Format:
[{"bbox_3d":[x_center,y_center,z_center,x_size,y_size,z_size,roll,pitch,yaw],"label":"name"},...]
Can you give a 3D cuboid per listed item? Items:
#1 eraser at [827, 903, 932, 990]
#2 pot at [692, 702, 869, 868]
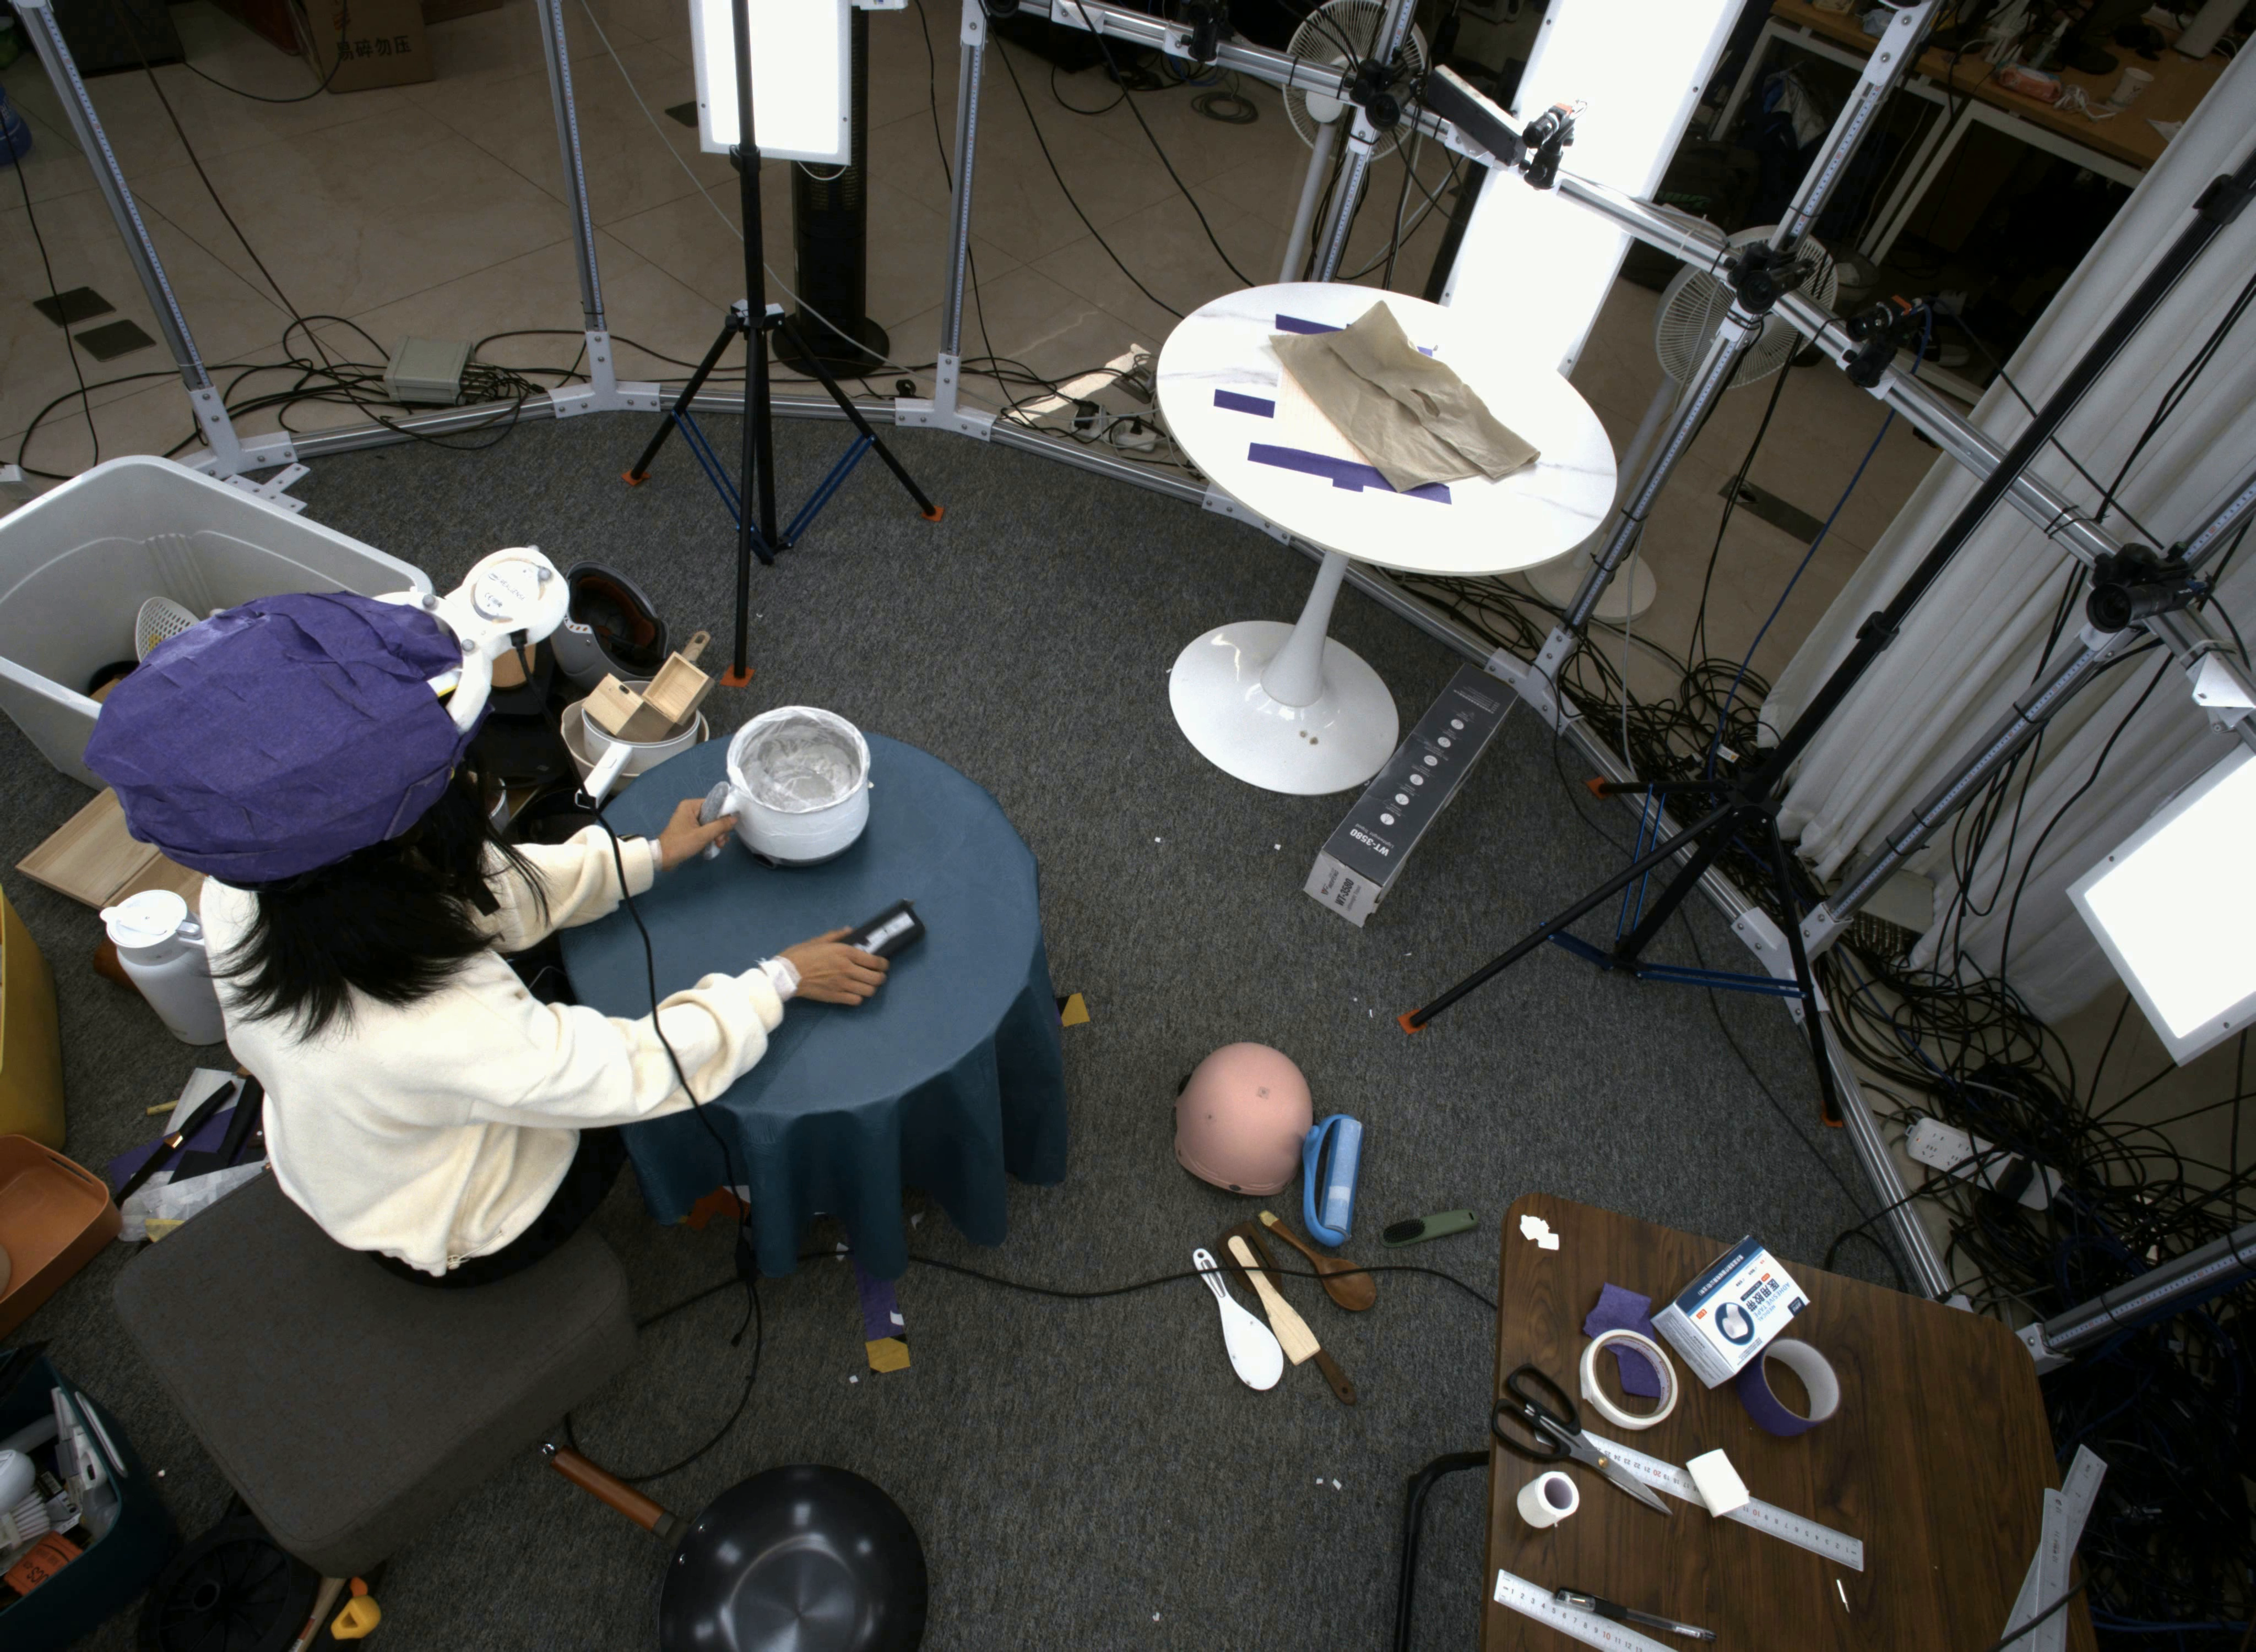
[{"bbox_3d":[-0.308,0.146,1.614,0.126,0.030,0.053,-32,78,-31],"label":"eraser"},{"bbox_3d":[-0.445,-0.040,1.652,0.235,0.139,0.174,-27,63,-31],"label":"pot"}]
